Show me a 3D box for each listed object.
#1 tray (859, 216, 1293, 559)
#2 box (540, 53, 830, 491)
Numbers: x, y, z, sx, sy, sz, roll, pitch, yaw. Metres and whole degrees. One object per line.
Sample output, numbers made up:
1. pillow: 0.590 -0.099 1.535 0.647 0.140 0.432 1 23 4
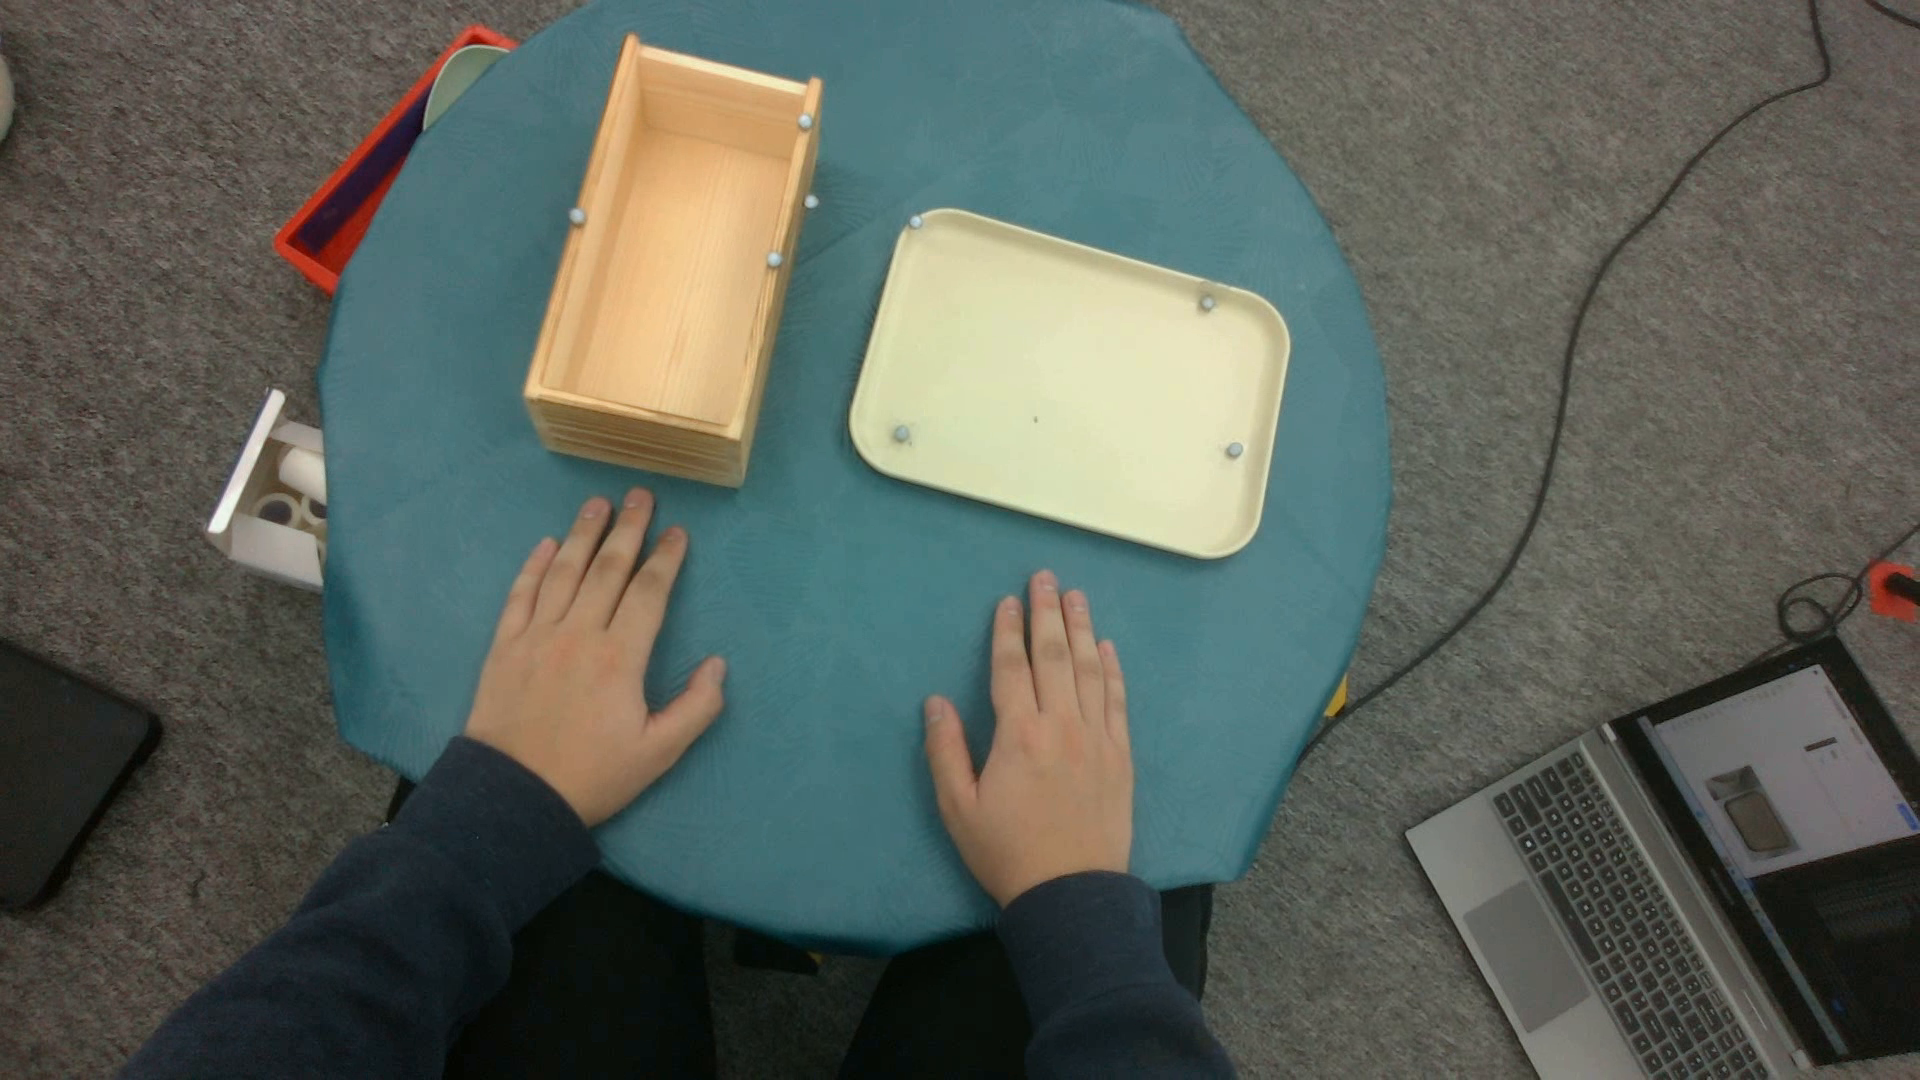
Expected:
1. tray: 0.070 -0.089 0.800 0.240 0.017 0.172 15 72 -4
2. box: -0.144 -0.145 0.754 0.107 0.080 0.212 11 72 -4
